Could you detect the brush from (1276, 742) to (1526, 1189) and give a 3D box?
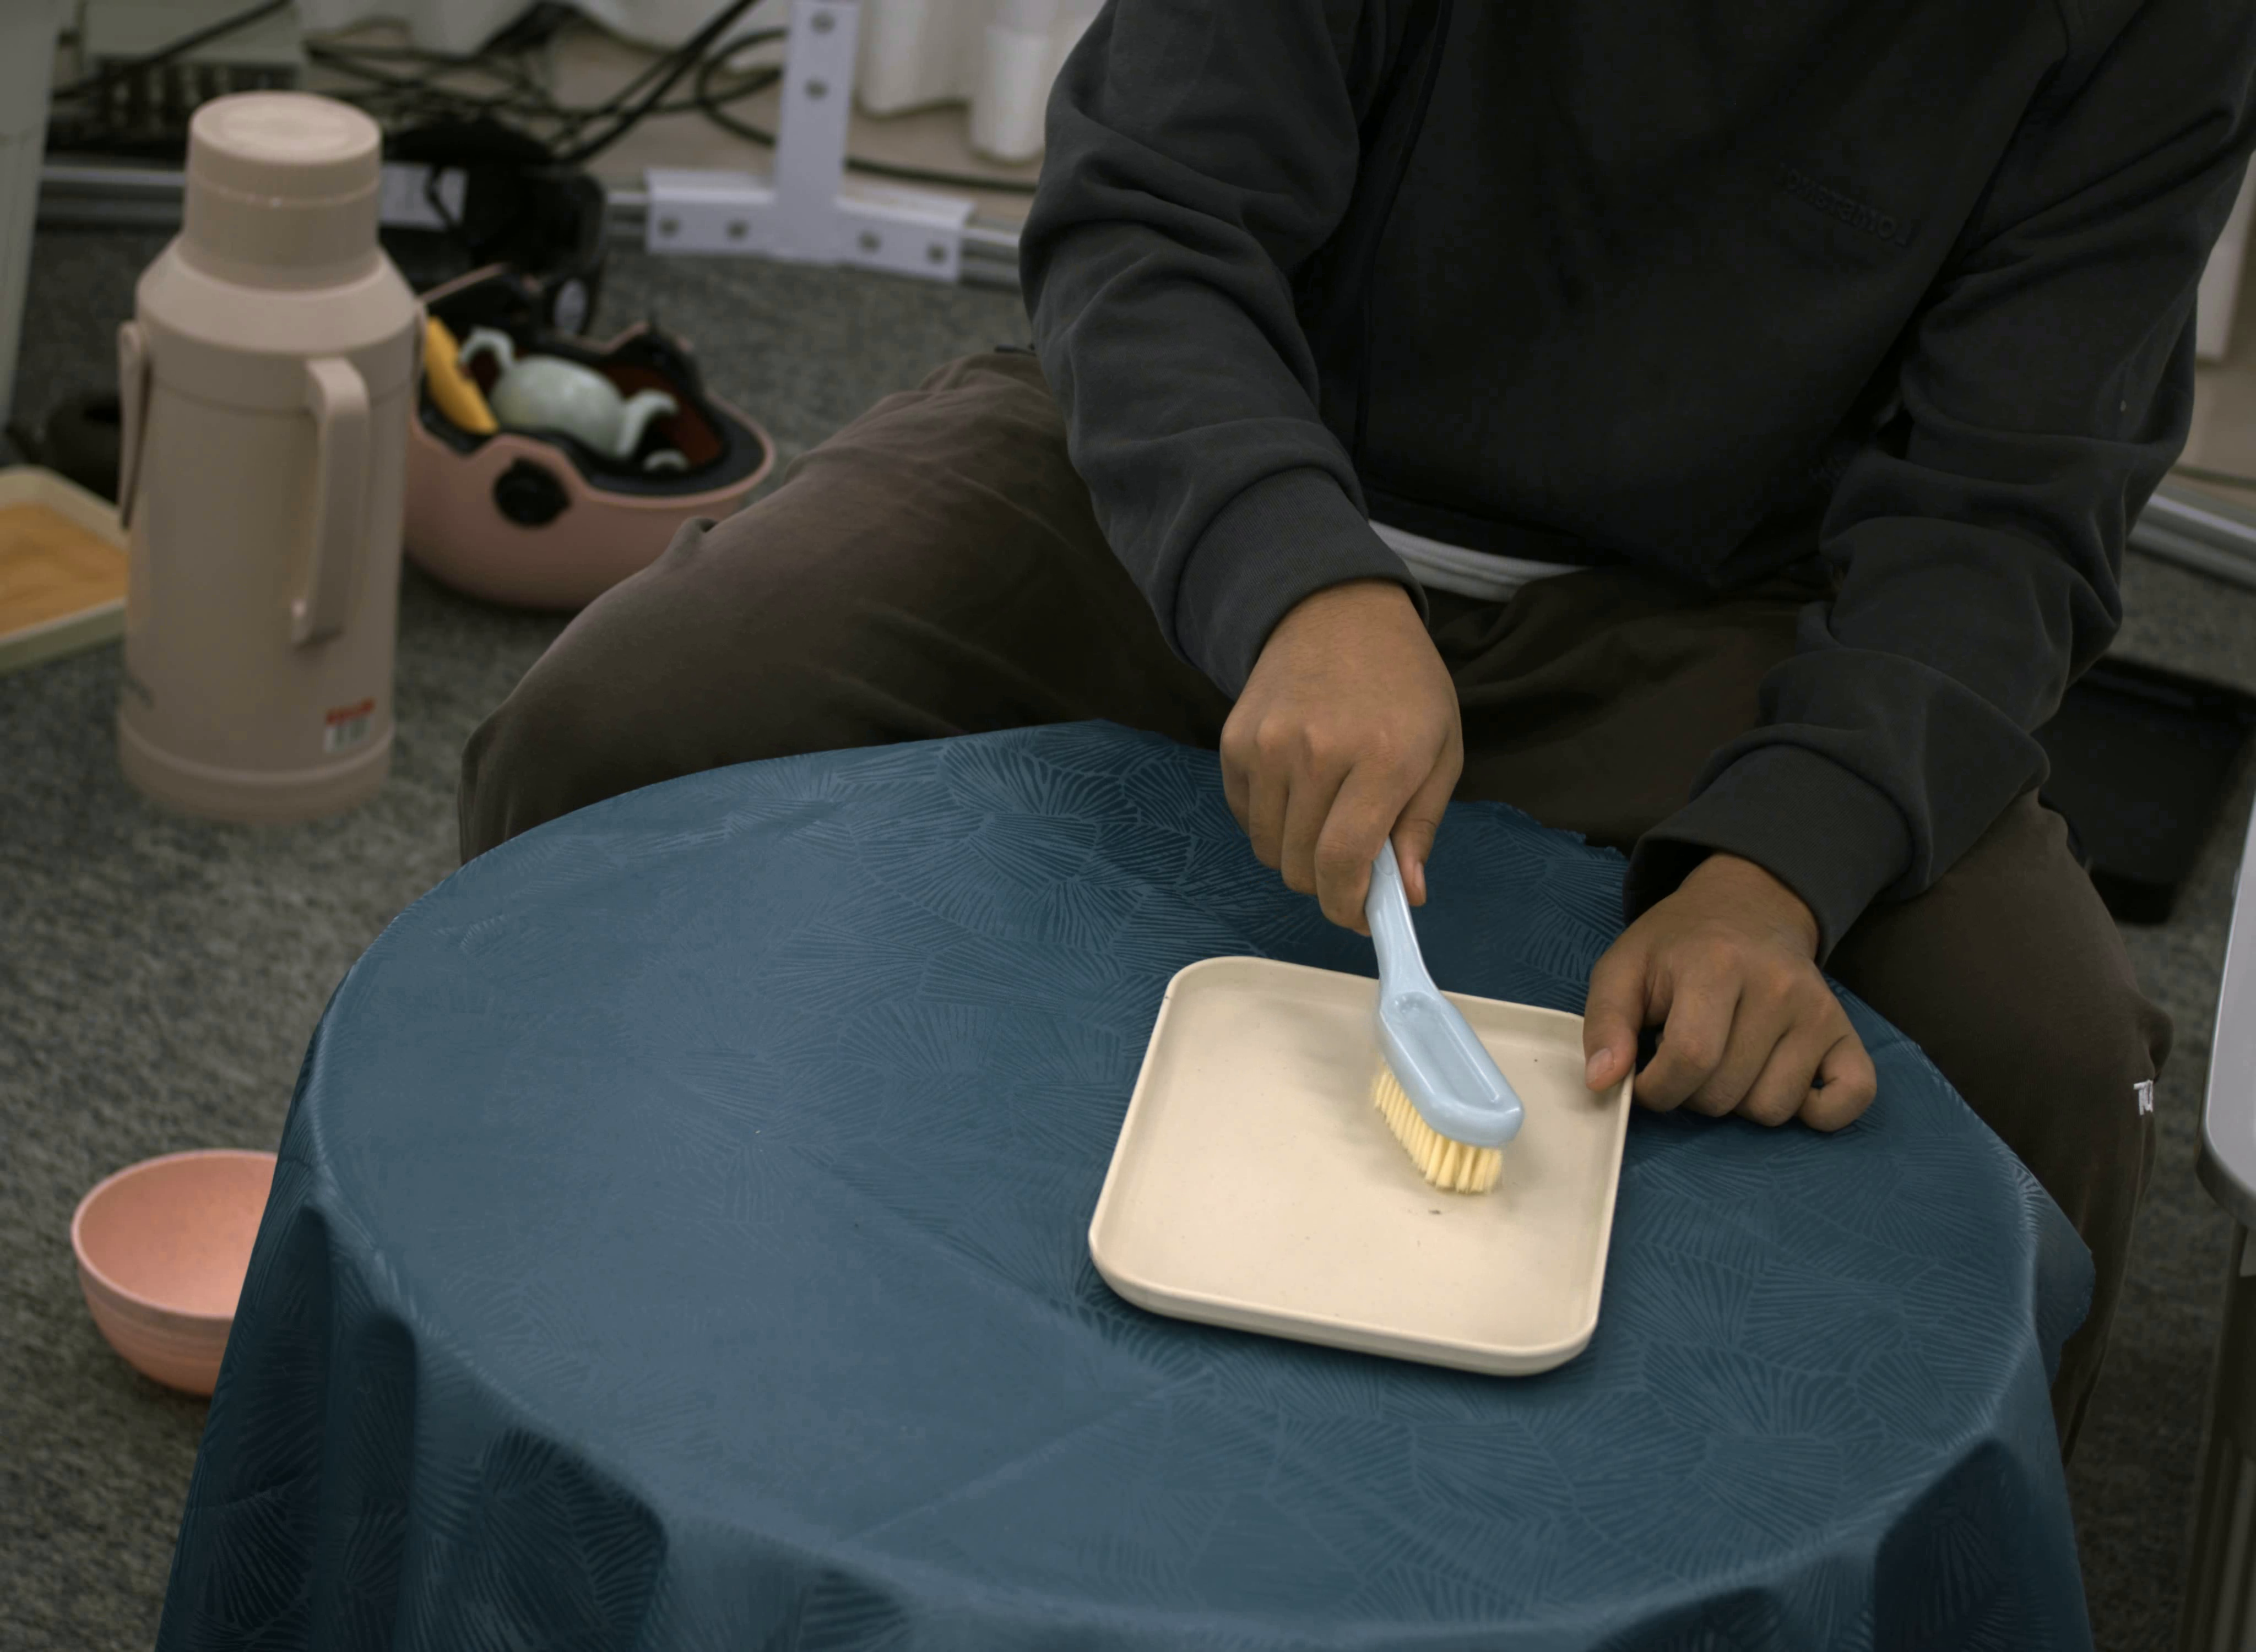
[{"bbox_3d":[0.090,0.045,1.900,0.037,0.049,0.231,2,39,-21],"label":"brush"}]

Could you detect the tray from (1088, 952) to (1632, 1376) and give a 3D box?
[{"bbox_3d":[0.082,0.114,1.824,0.171,0.017,0.240,10,27,5],"label":"tray"}]
